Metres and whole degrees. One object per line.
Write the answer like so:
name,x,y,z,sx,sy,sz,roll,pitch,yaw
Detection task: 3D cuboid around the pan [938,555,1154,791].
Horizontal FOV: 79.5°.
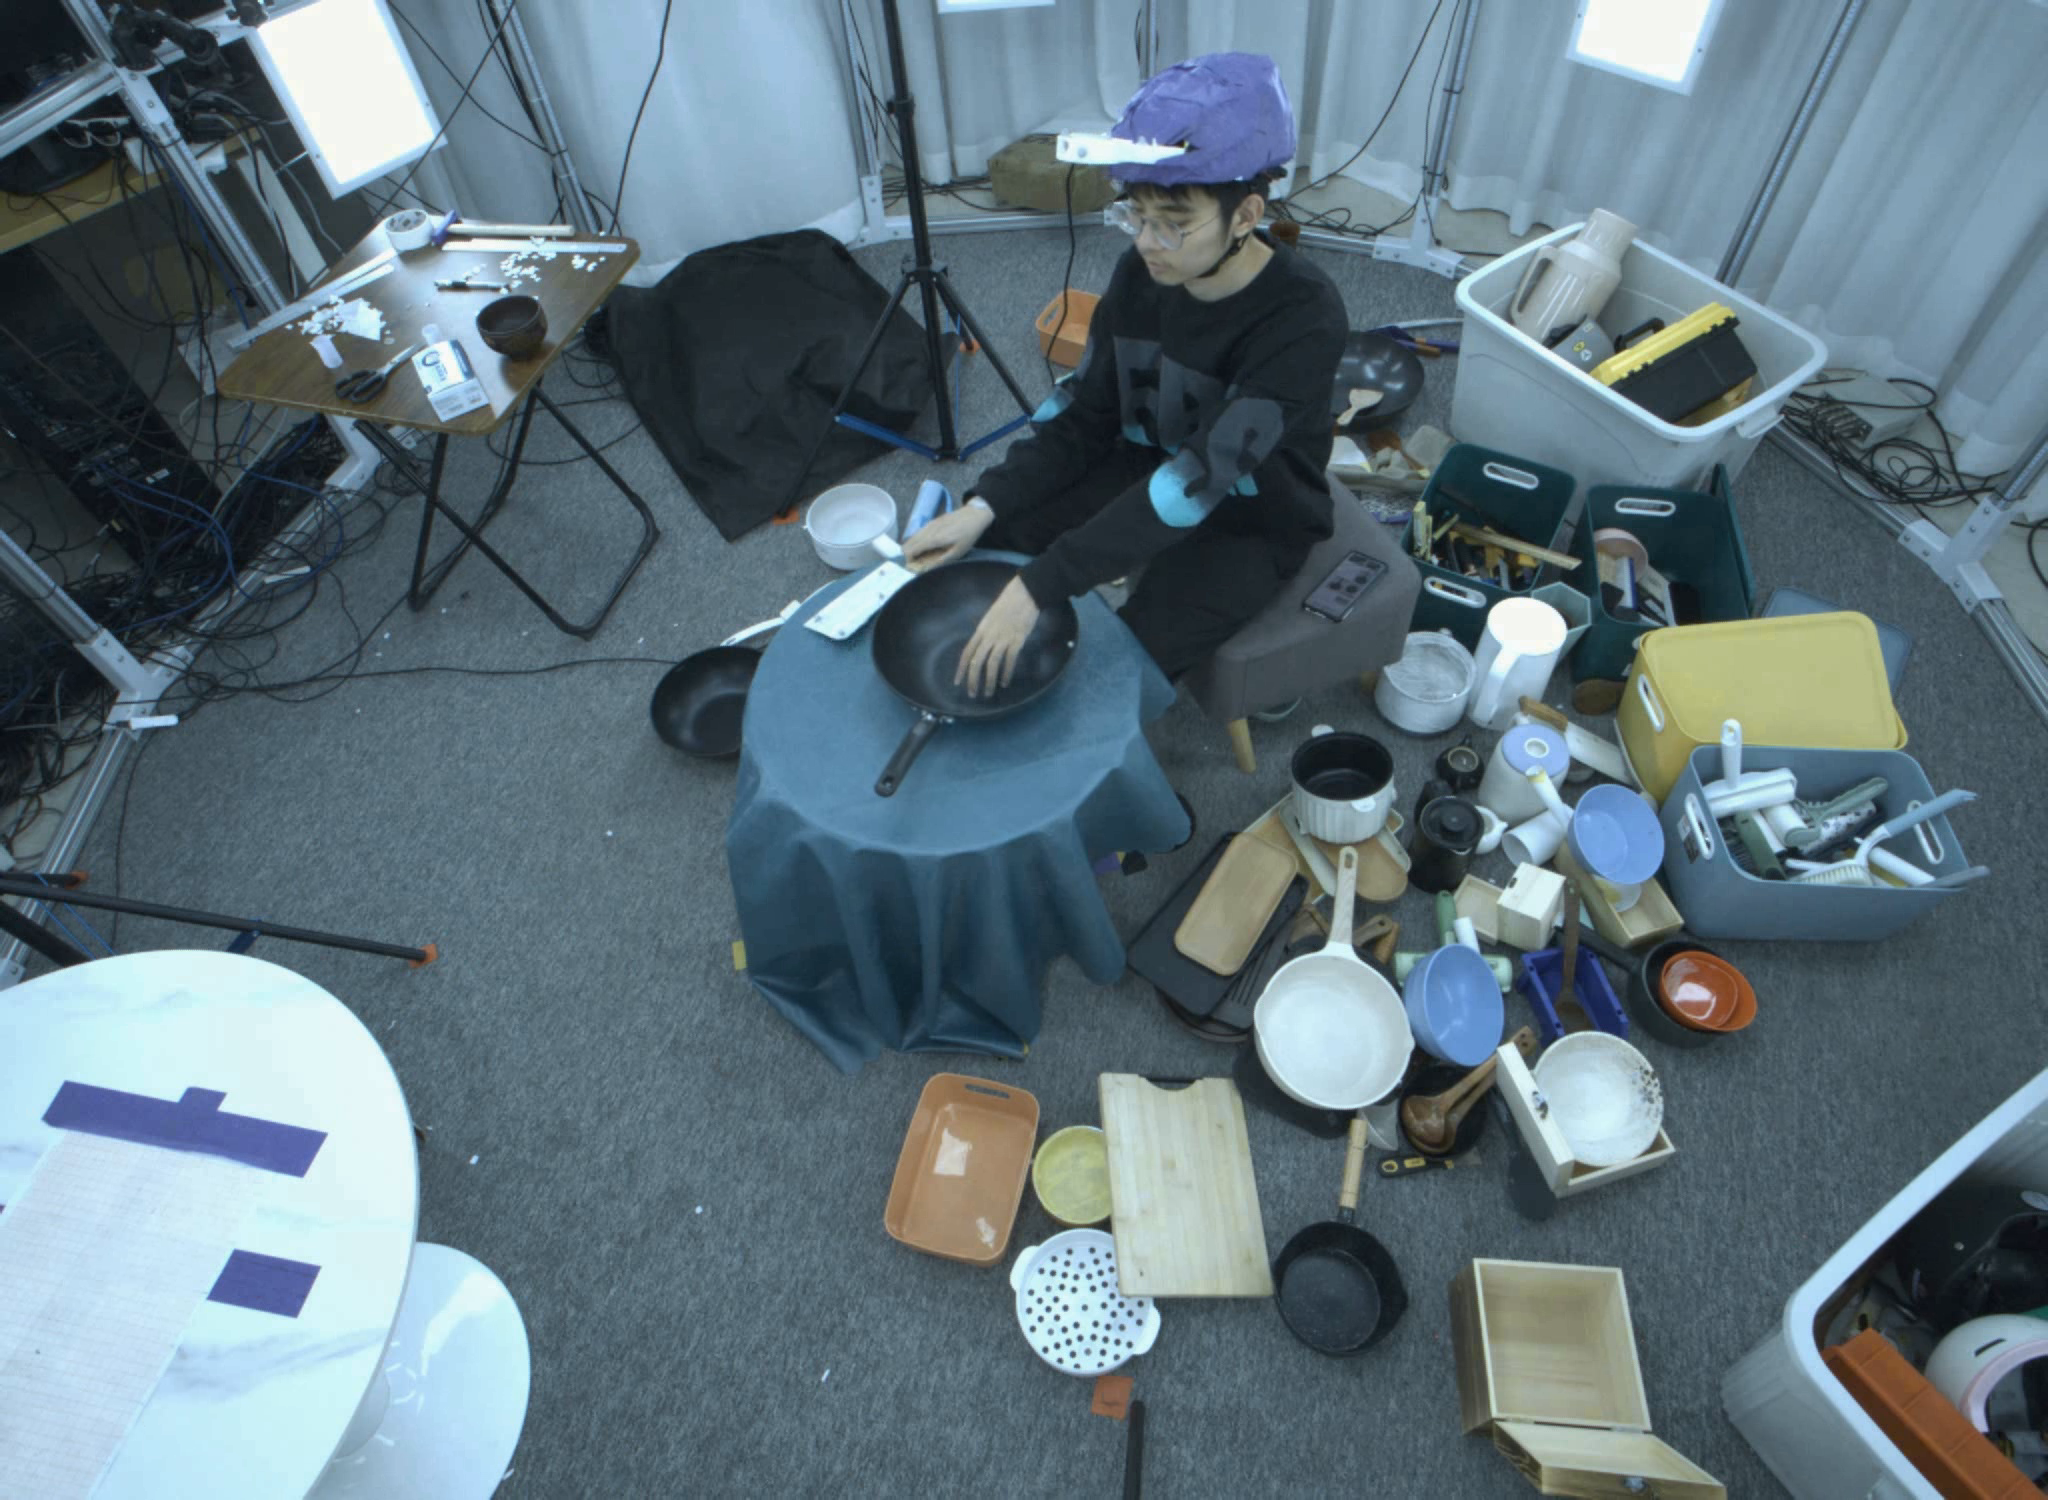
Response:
pan,0.003,-0.098,1.791,0.306,0.113,0.477,19,57,17

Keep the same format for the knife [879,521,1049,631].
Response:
knife,-0.088,-0.283,1.972,0.317,0.022,0.111,-35,47,-19
